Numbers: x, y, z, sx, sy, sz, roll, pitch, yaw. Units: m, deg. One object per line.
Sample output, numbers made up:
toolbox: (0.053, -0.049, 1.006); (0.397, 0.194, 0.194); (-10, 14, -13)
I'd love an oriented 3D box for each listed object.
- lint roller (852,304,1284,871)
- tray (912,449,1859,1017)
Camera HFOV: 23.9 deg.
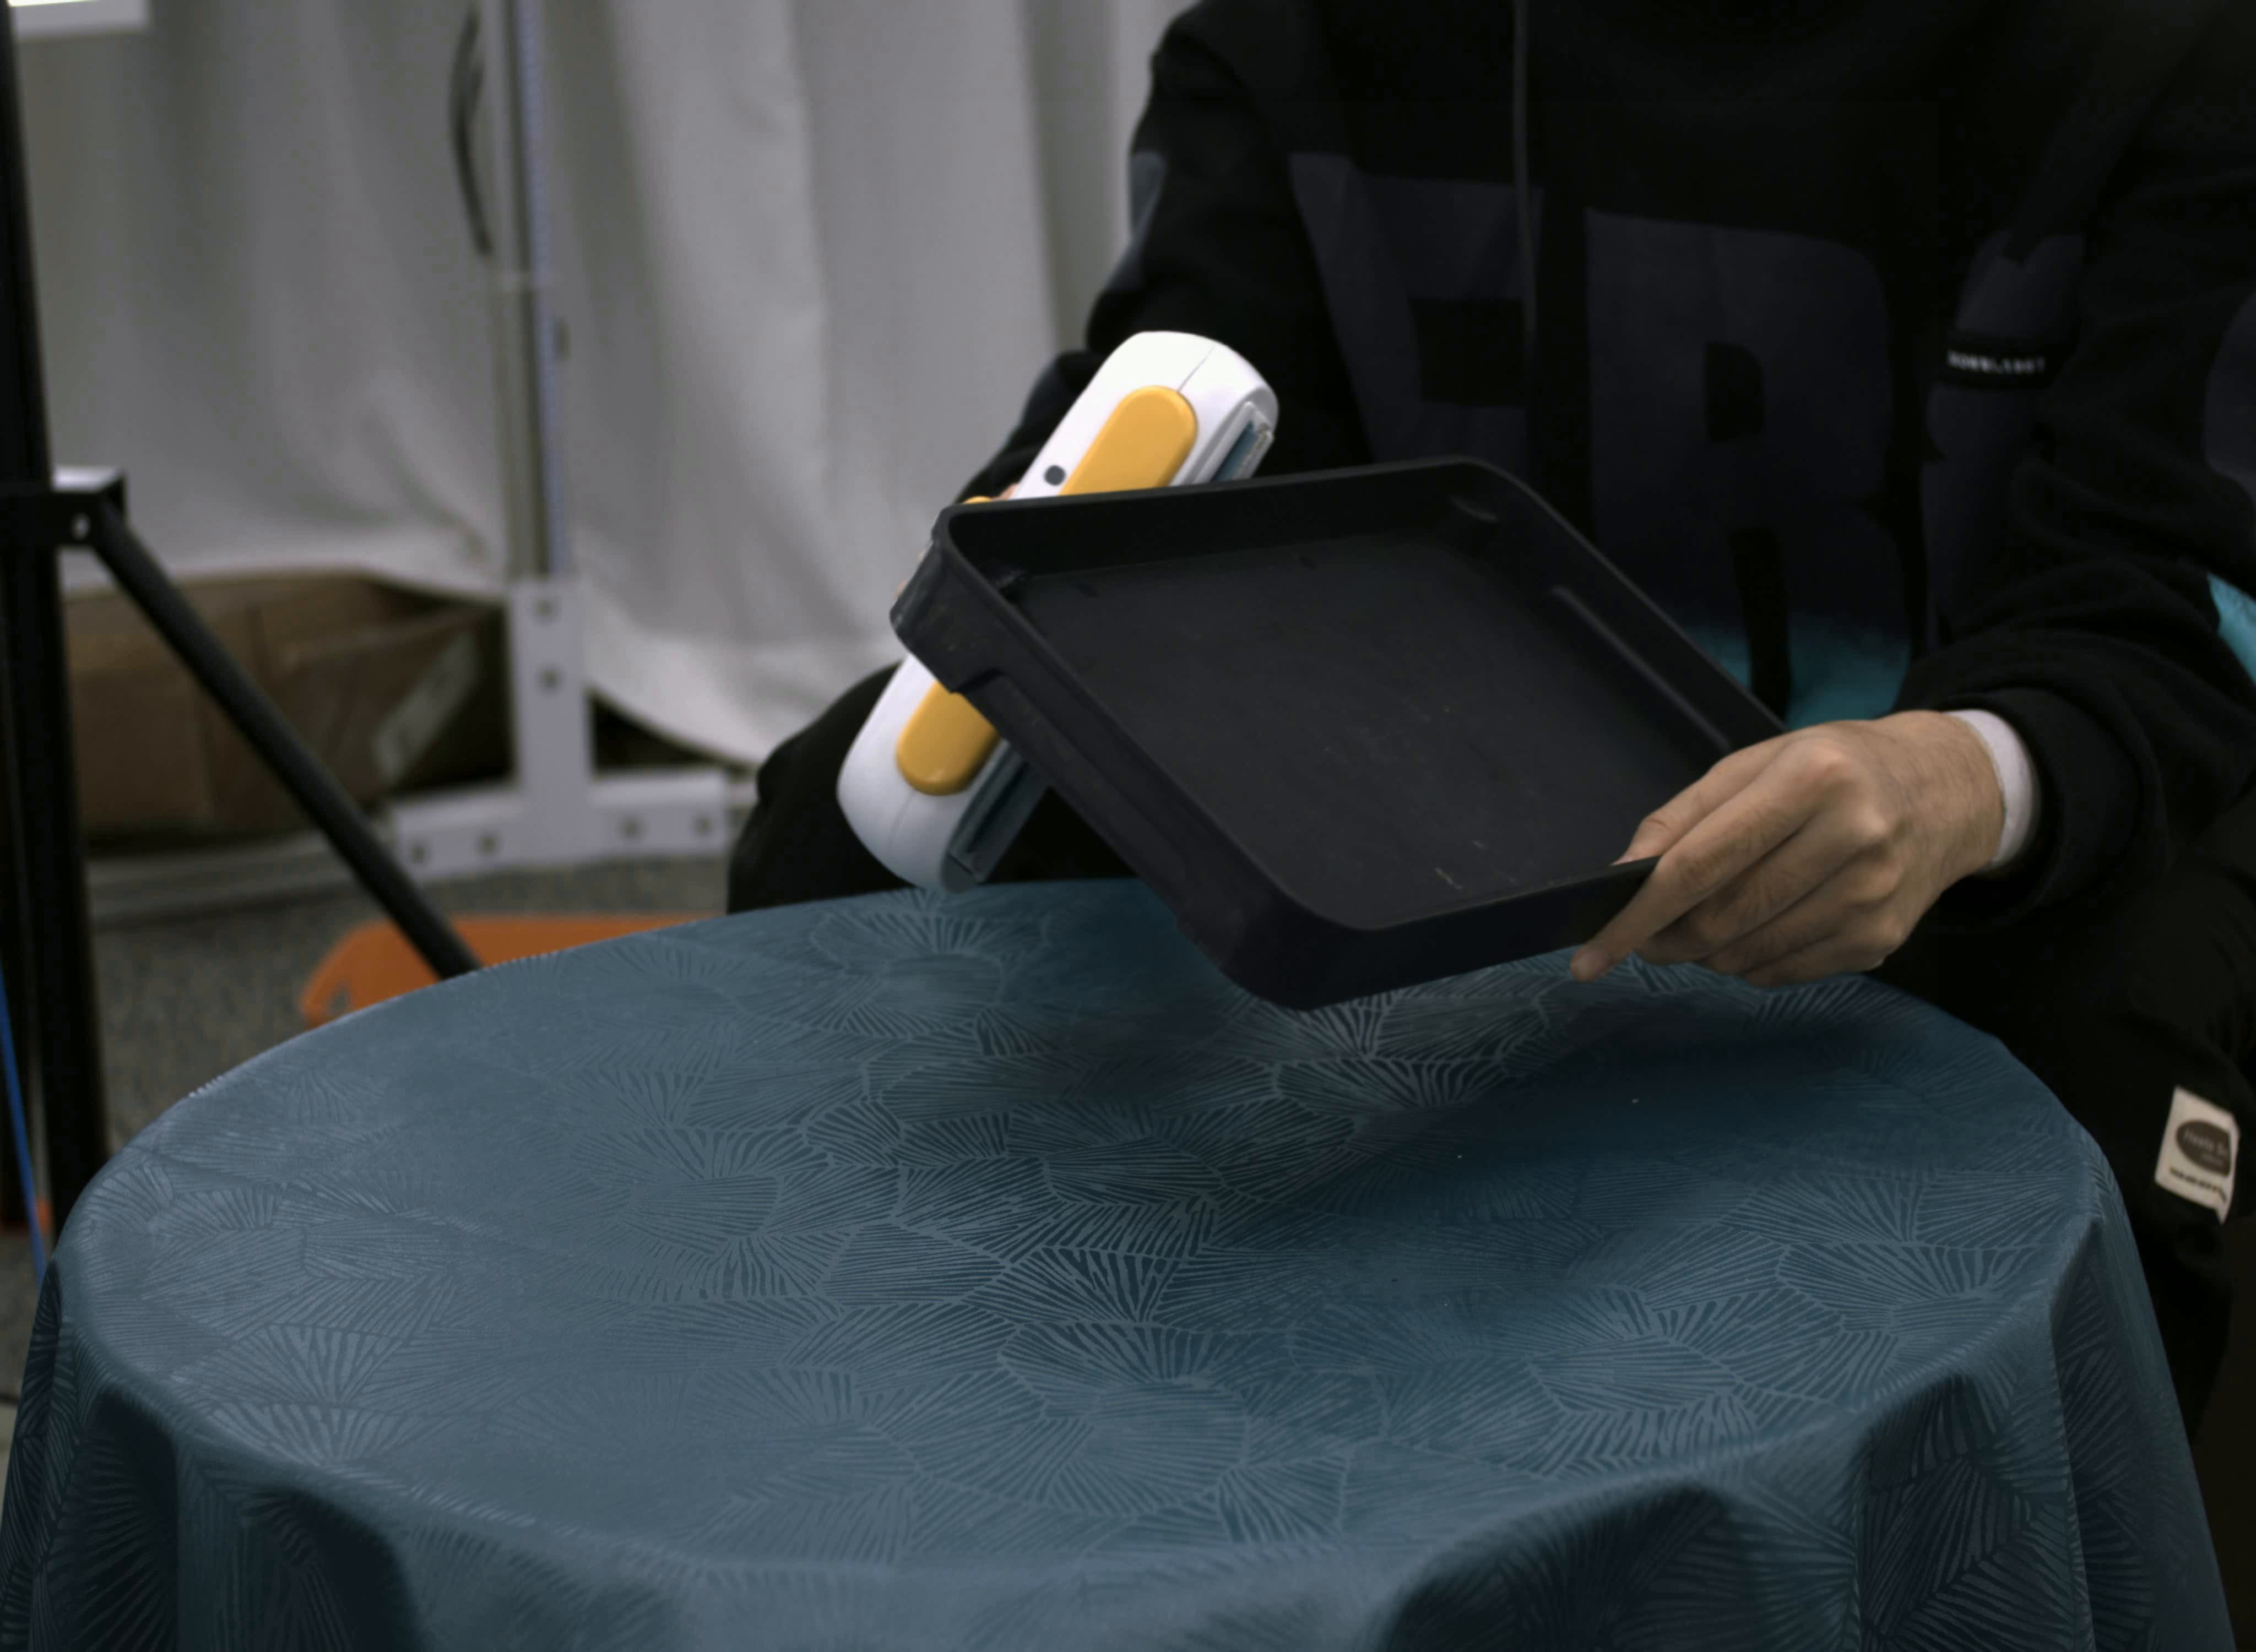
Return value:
lint roller: (-0.022, -0.066, 1.715); (0.074, 0.193, 0.191); (28, -9, 7)
tray: (0.084, -0.034, 1.601); (0.187, 0.037, 0.311); (45, 29, 22)
